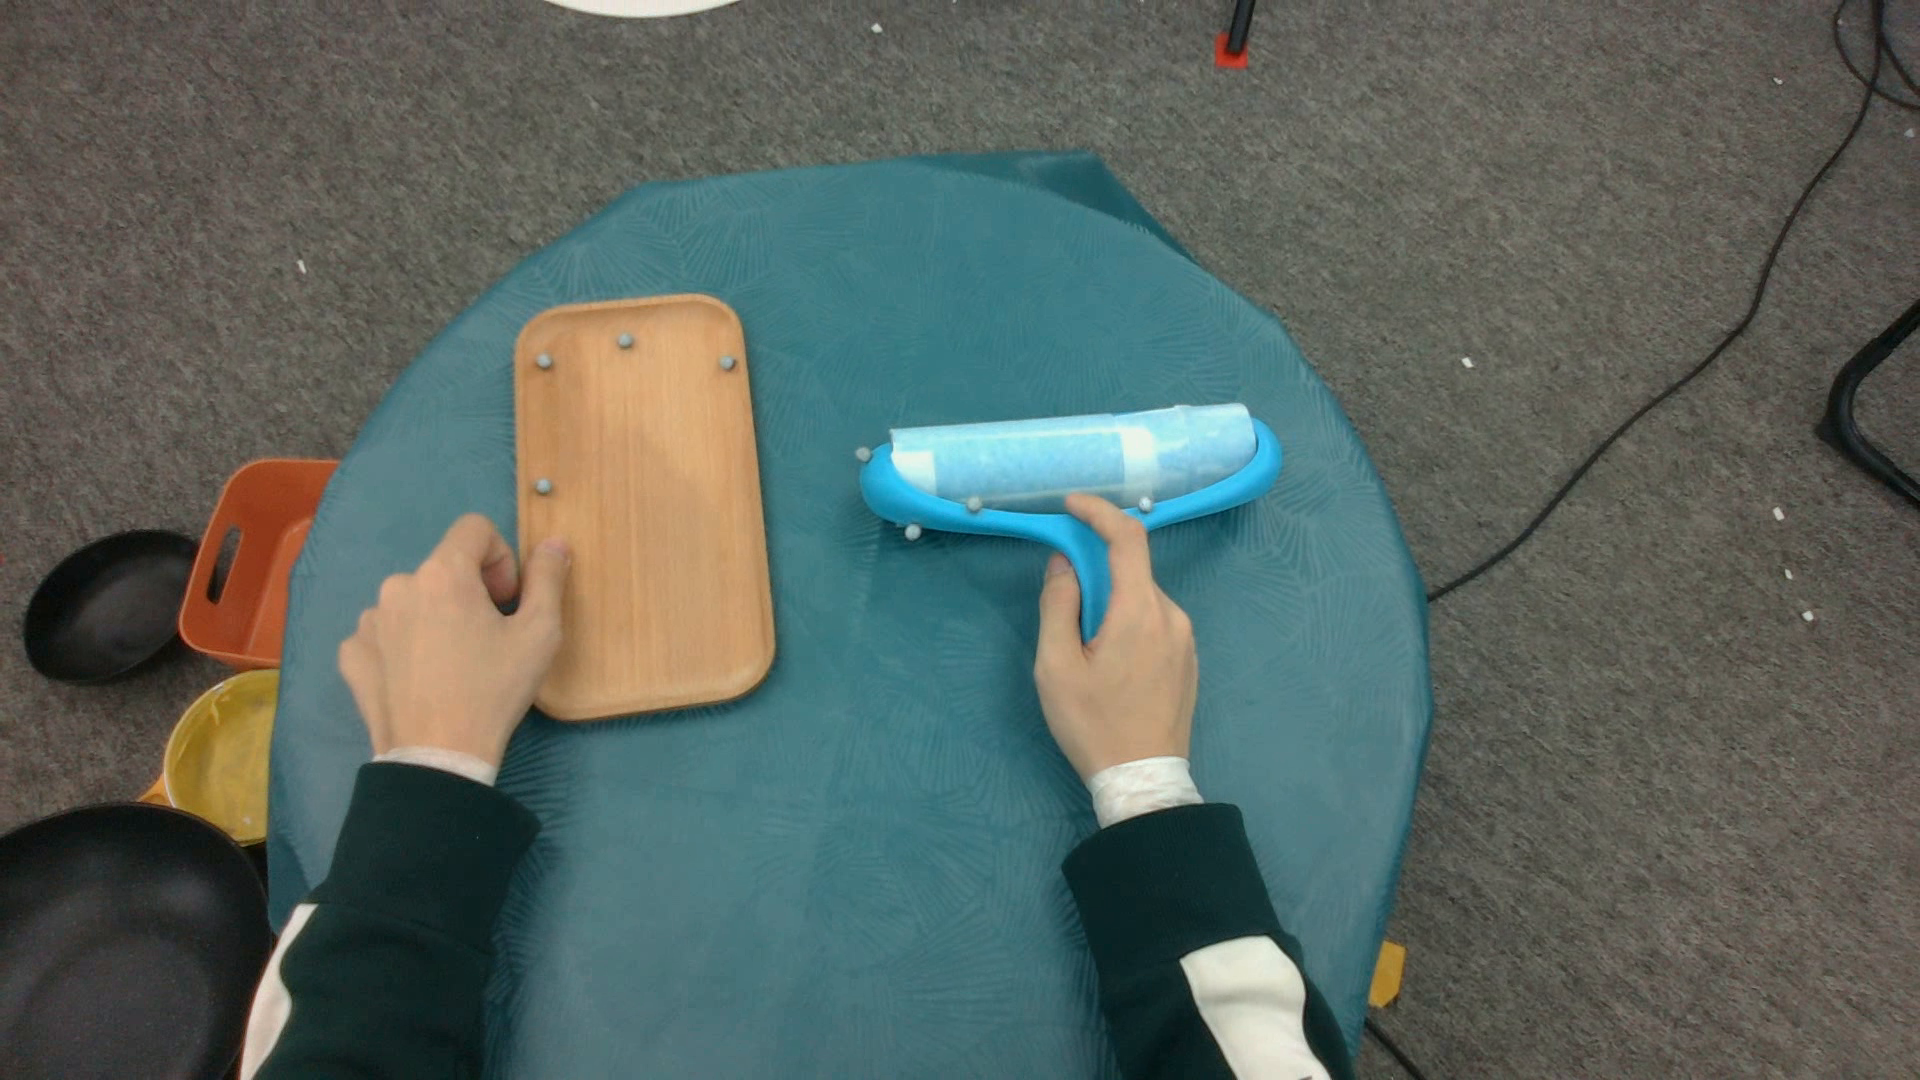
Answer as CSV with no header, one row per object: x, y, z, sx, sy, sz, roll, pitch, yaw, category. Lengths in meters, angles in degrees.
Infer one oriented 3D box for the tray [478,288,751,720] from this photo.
-0.188,-0.026,0.740,0.130,0.023,0.251,-9,65,-5,tray

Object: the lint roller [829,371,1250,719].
0.055,-0.002,0.719,0.229,0.067,0.181,-9,64,-8,lint roller
